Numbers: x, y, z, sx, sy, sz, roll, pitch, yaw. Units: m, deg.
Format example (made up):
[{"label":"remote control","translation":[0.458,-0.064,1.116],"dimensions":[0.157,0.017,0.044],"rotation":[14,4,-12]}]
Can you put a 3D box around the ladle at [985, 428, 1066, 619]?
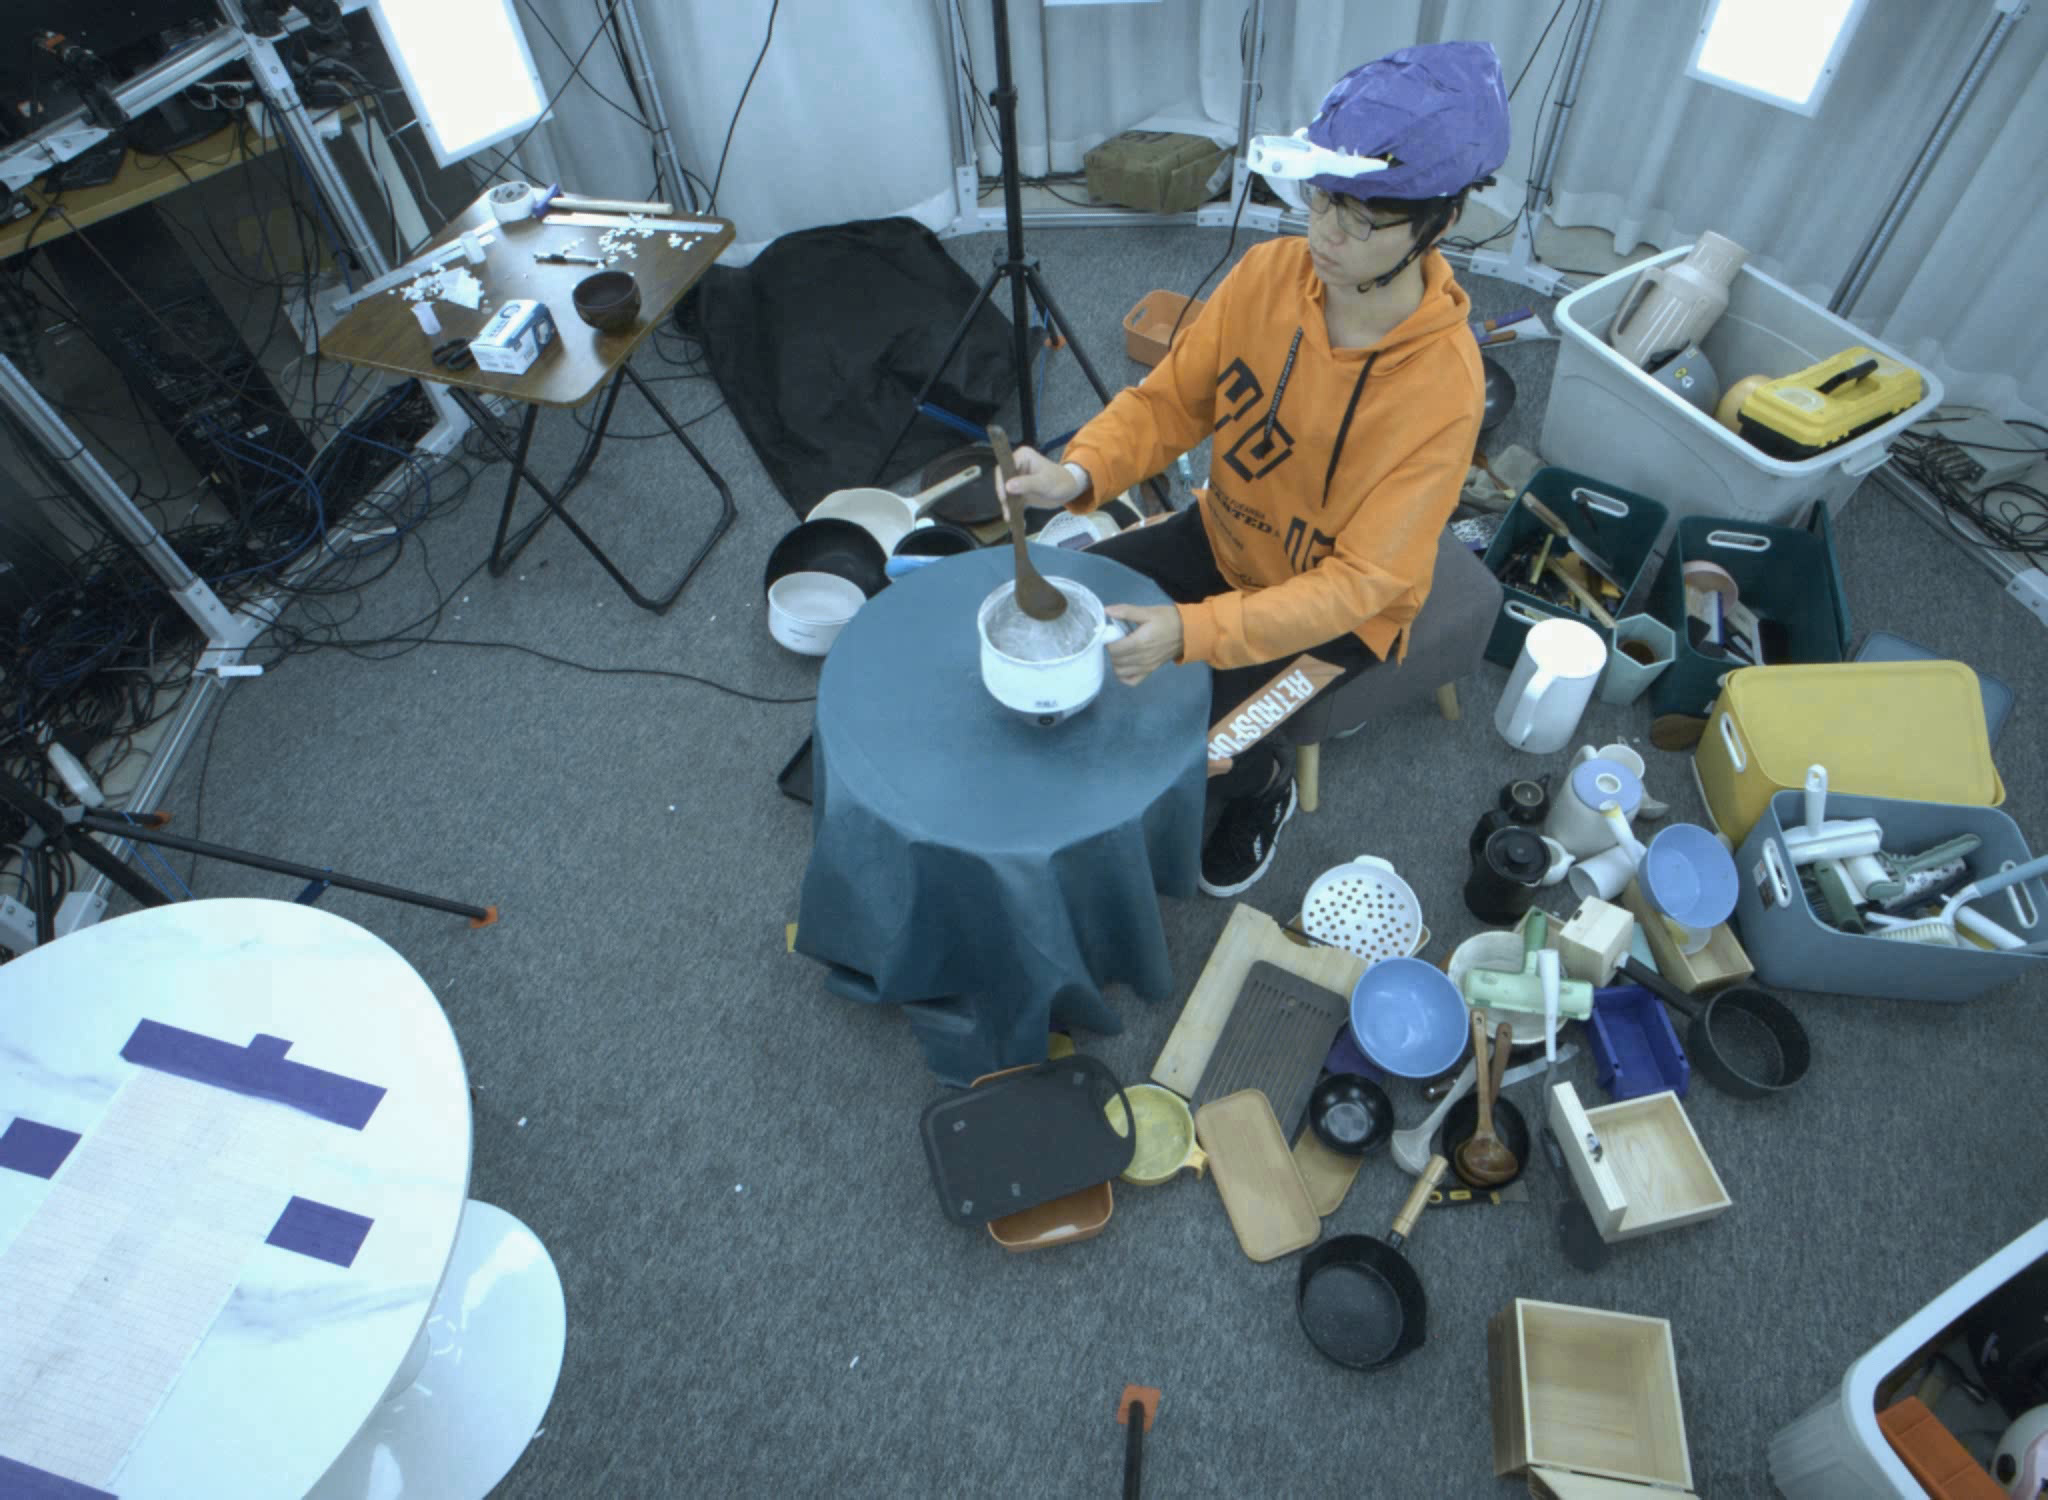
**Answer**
[{"label":"ladle","translation":[-0.001,-0.313,1.662],"dimensions":[0.077,0.275,0.070],"rotation":[-17,9,-39]}]

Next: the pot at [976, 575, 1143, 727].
[{"label":"pot","translation":[0.052,-0.142,1.740],"dimensions":[0.234,0.138,0.176],"rotation":[-4,52,-2]}]
